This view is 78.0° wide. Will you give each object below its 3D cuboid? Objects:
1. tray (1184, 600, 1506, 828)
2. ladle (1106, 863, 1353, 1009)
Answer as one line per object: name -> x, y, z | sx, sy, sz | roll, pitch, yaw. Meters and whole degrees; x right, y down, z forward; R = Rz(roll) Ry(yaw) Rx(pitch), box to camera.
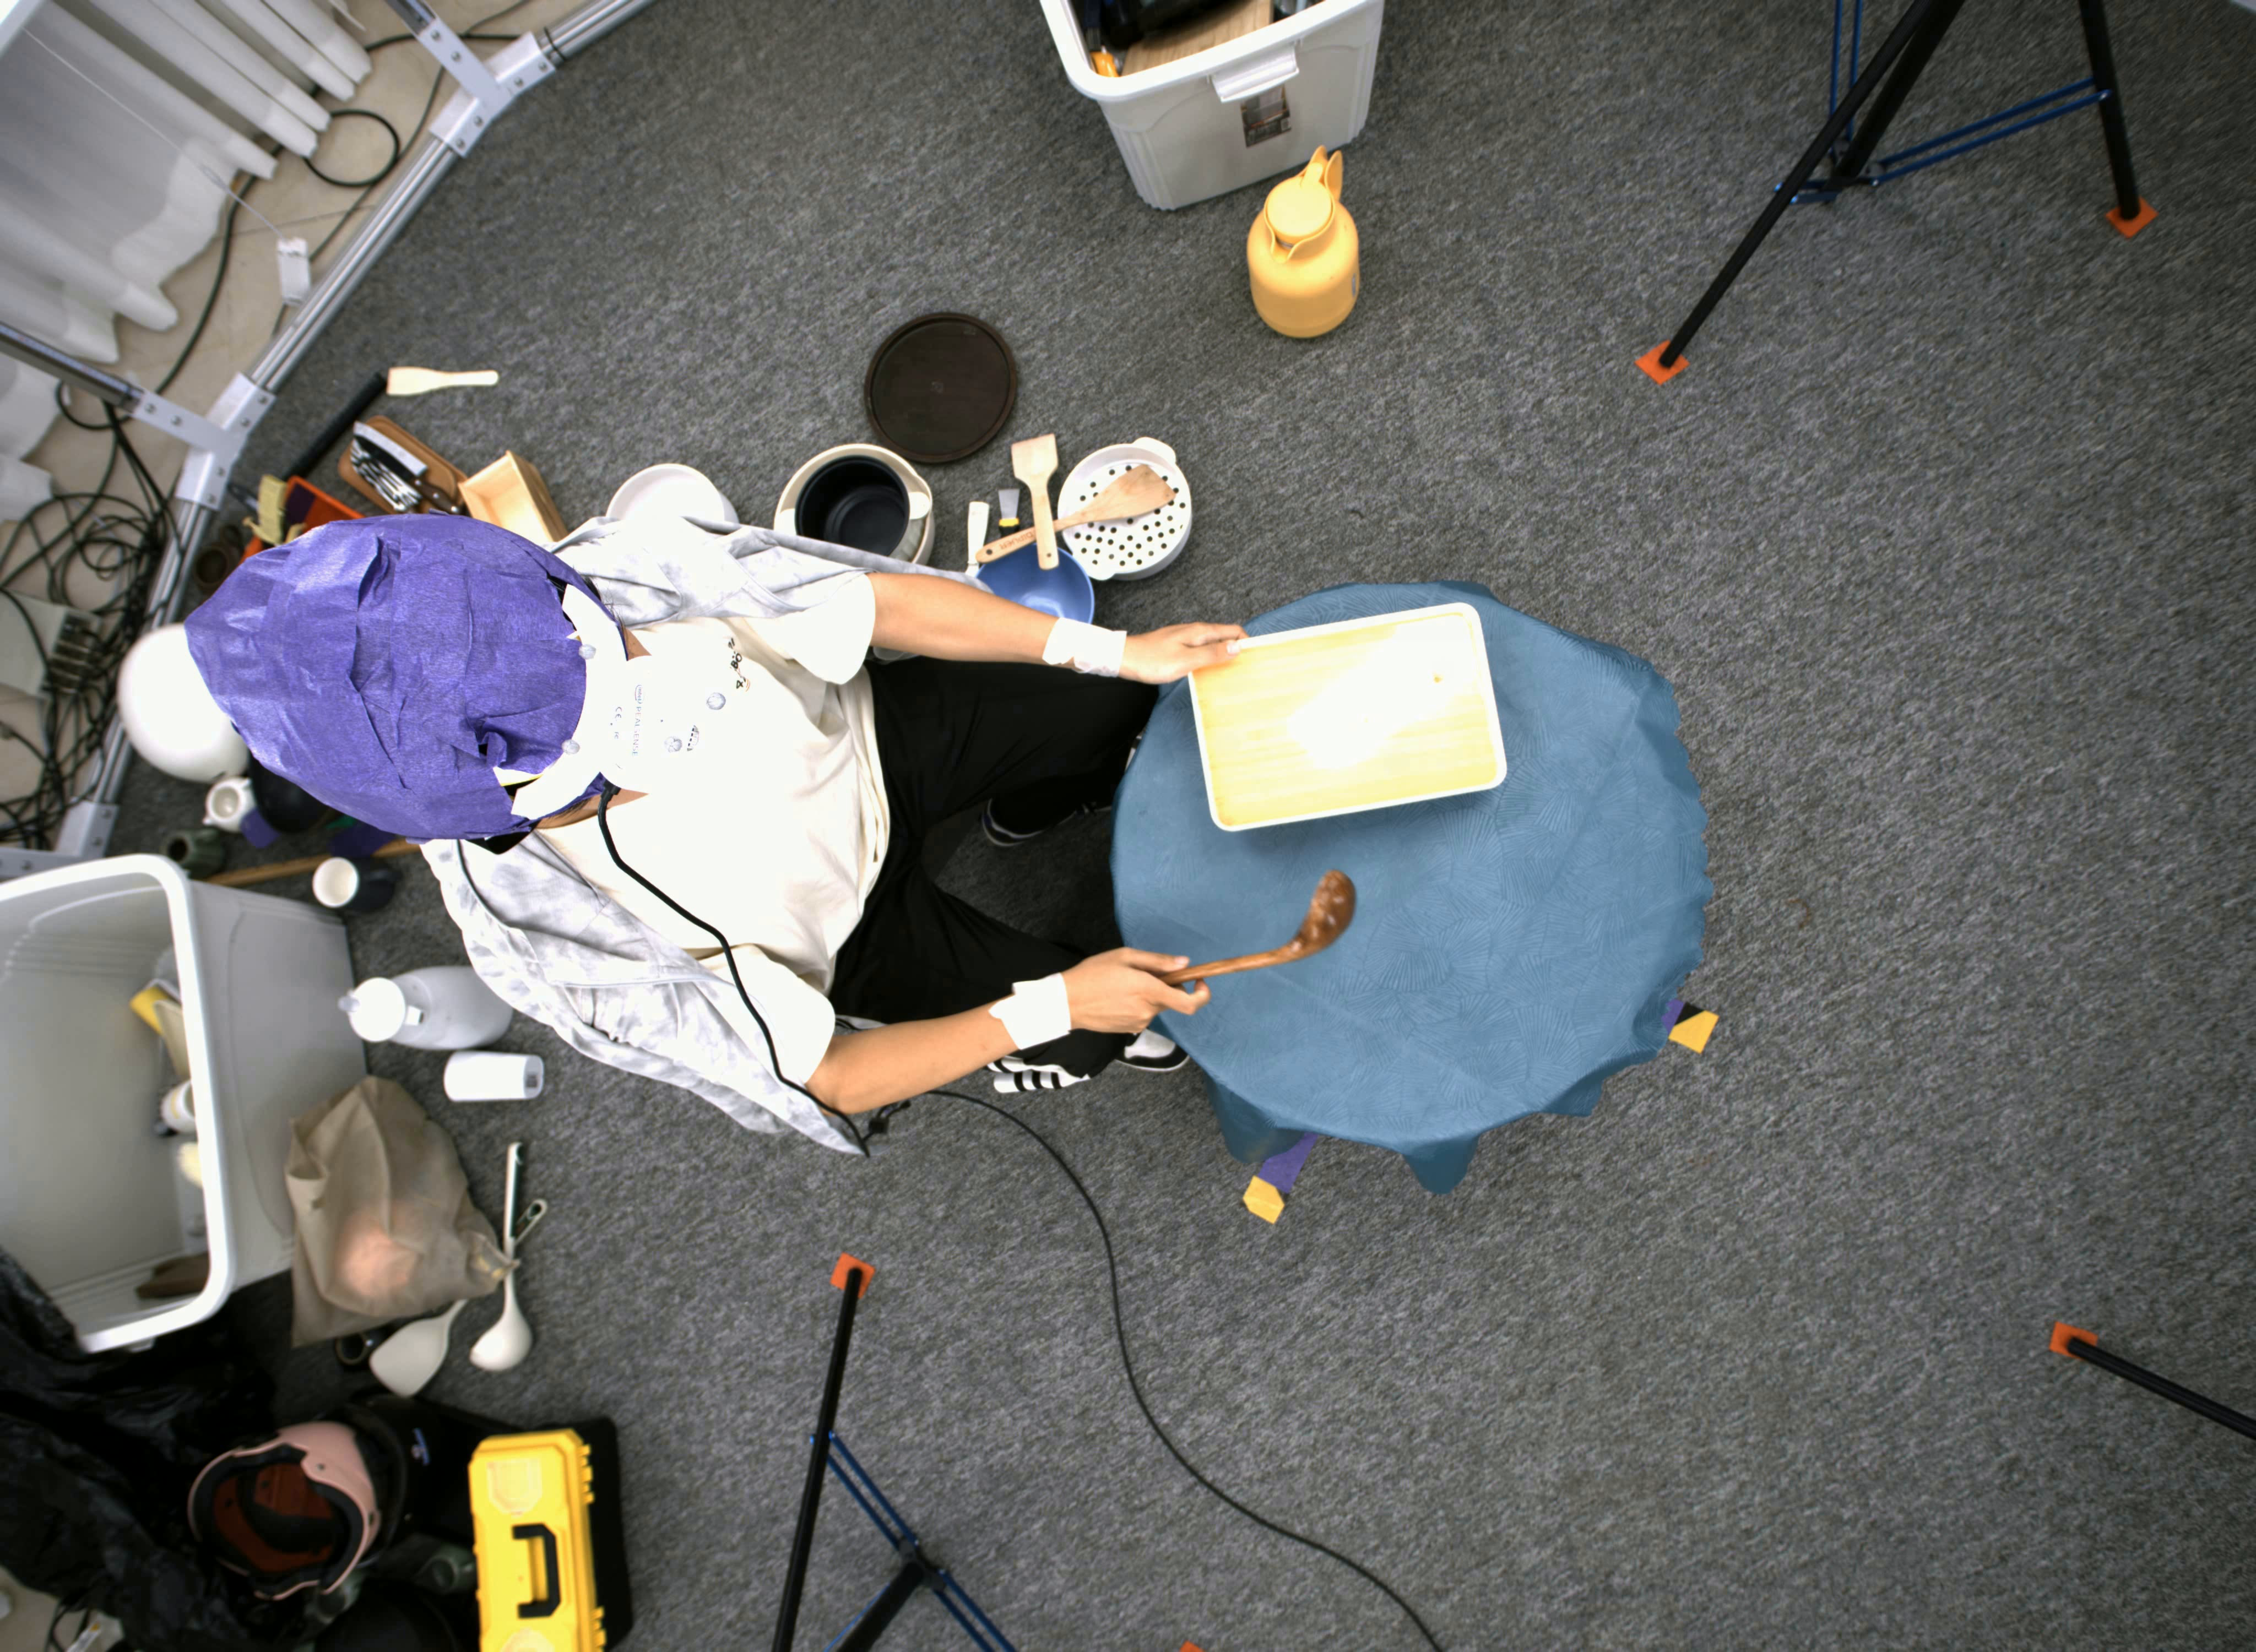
tray -> 0.218, -0.114, 1.391 | 0.301, 0.027, 0.191 | -9, 89, 5
ladle -> 0.092, 0.108, 1.358 | 0.277, 0.082, 0.075 | -19, 72, 24
